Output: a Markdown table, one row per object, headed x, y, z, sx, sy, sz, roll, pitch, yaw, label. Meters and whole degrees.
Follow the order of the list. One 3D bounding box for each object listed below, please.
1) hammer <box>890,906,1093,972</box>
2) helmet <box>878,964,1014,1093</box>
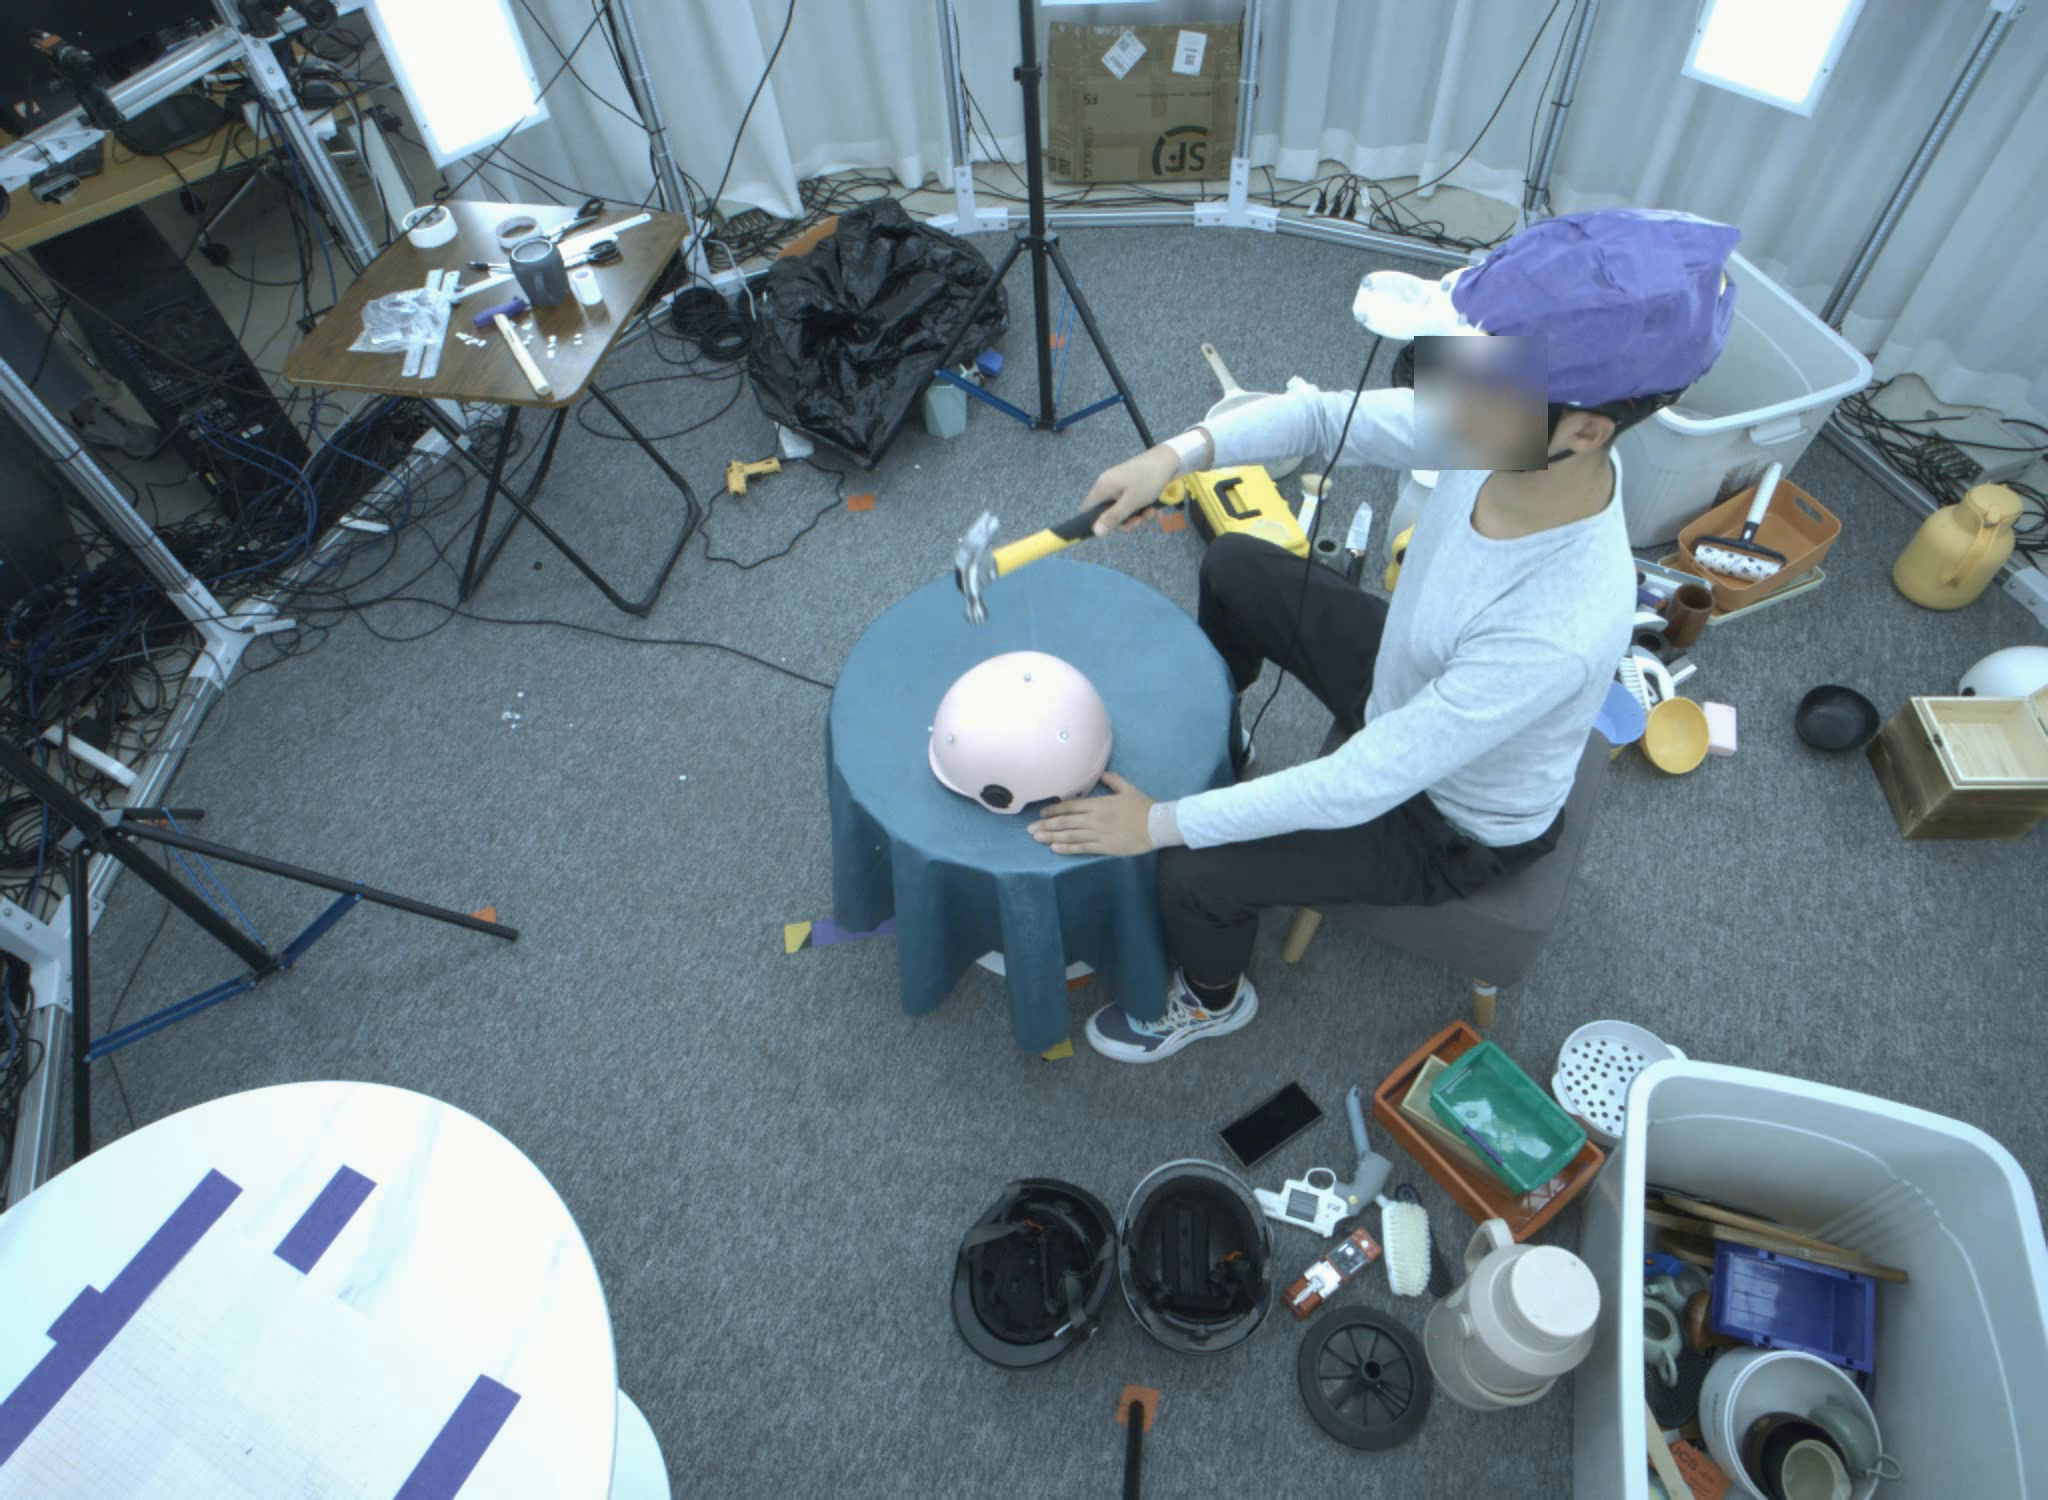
| x | y | z | sx | sy | sz | roll | pitch | yaw | label |
| --- | --- | --- | --- | --- | --- | --- | --- | --- | --- |
| -0.053 | 0.299 | 2.044 | 0.340 | 0.133 | 0.032 | -6 | 43 | -6 | hammer |
| -0.156 | 0.488 | 2.247 | 0.262 | 0.161 | 0.234 | 21 | 58 | 20 | helmet |
